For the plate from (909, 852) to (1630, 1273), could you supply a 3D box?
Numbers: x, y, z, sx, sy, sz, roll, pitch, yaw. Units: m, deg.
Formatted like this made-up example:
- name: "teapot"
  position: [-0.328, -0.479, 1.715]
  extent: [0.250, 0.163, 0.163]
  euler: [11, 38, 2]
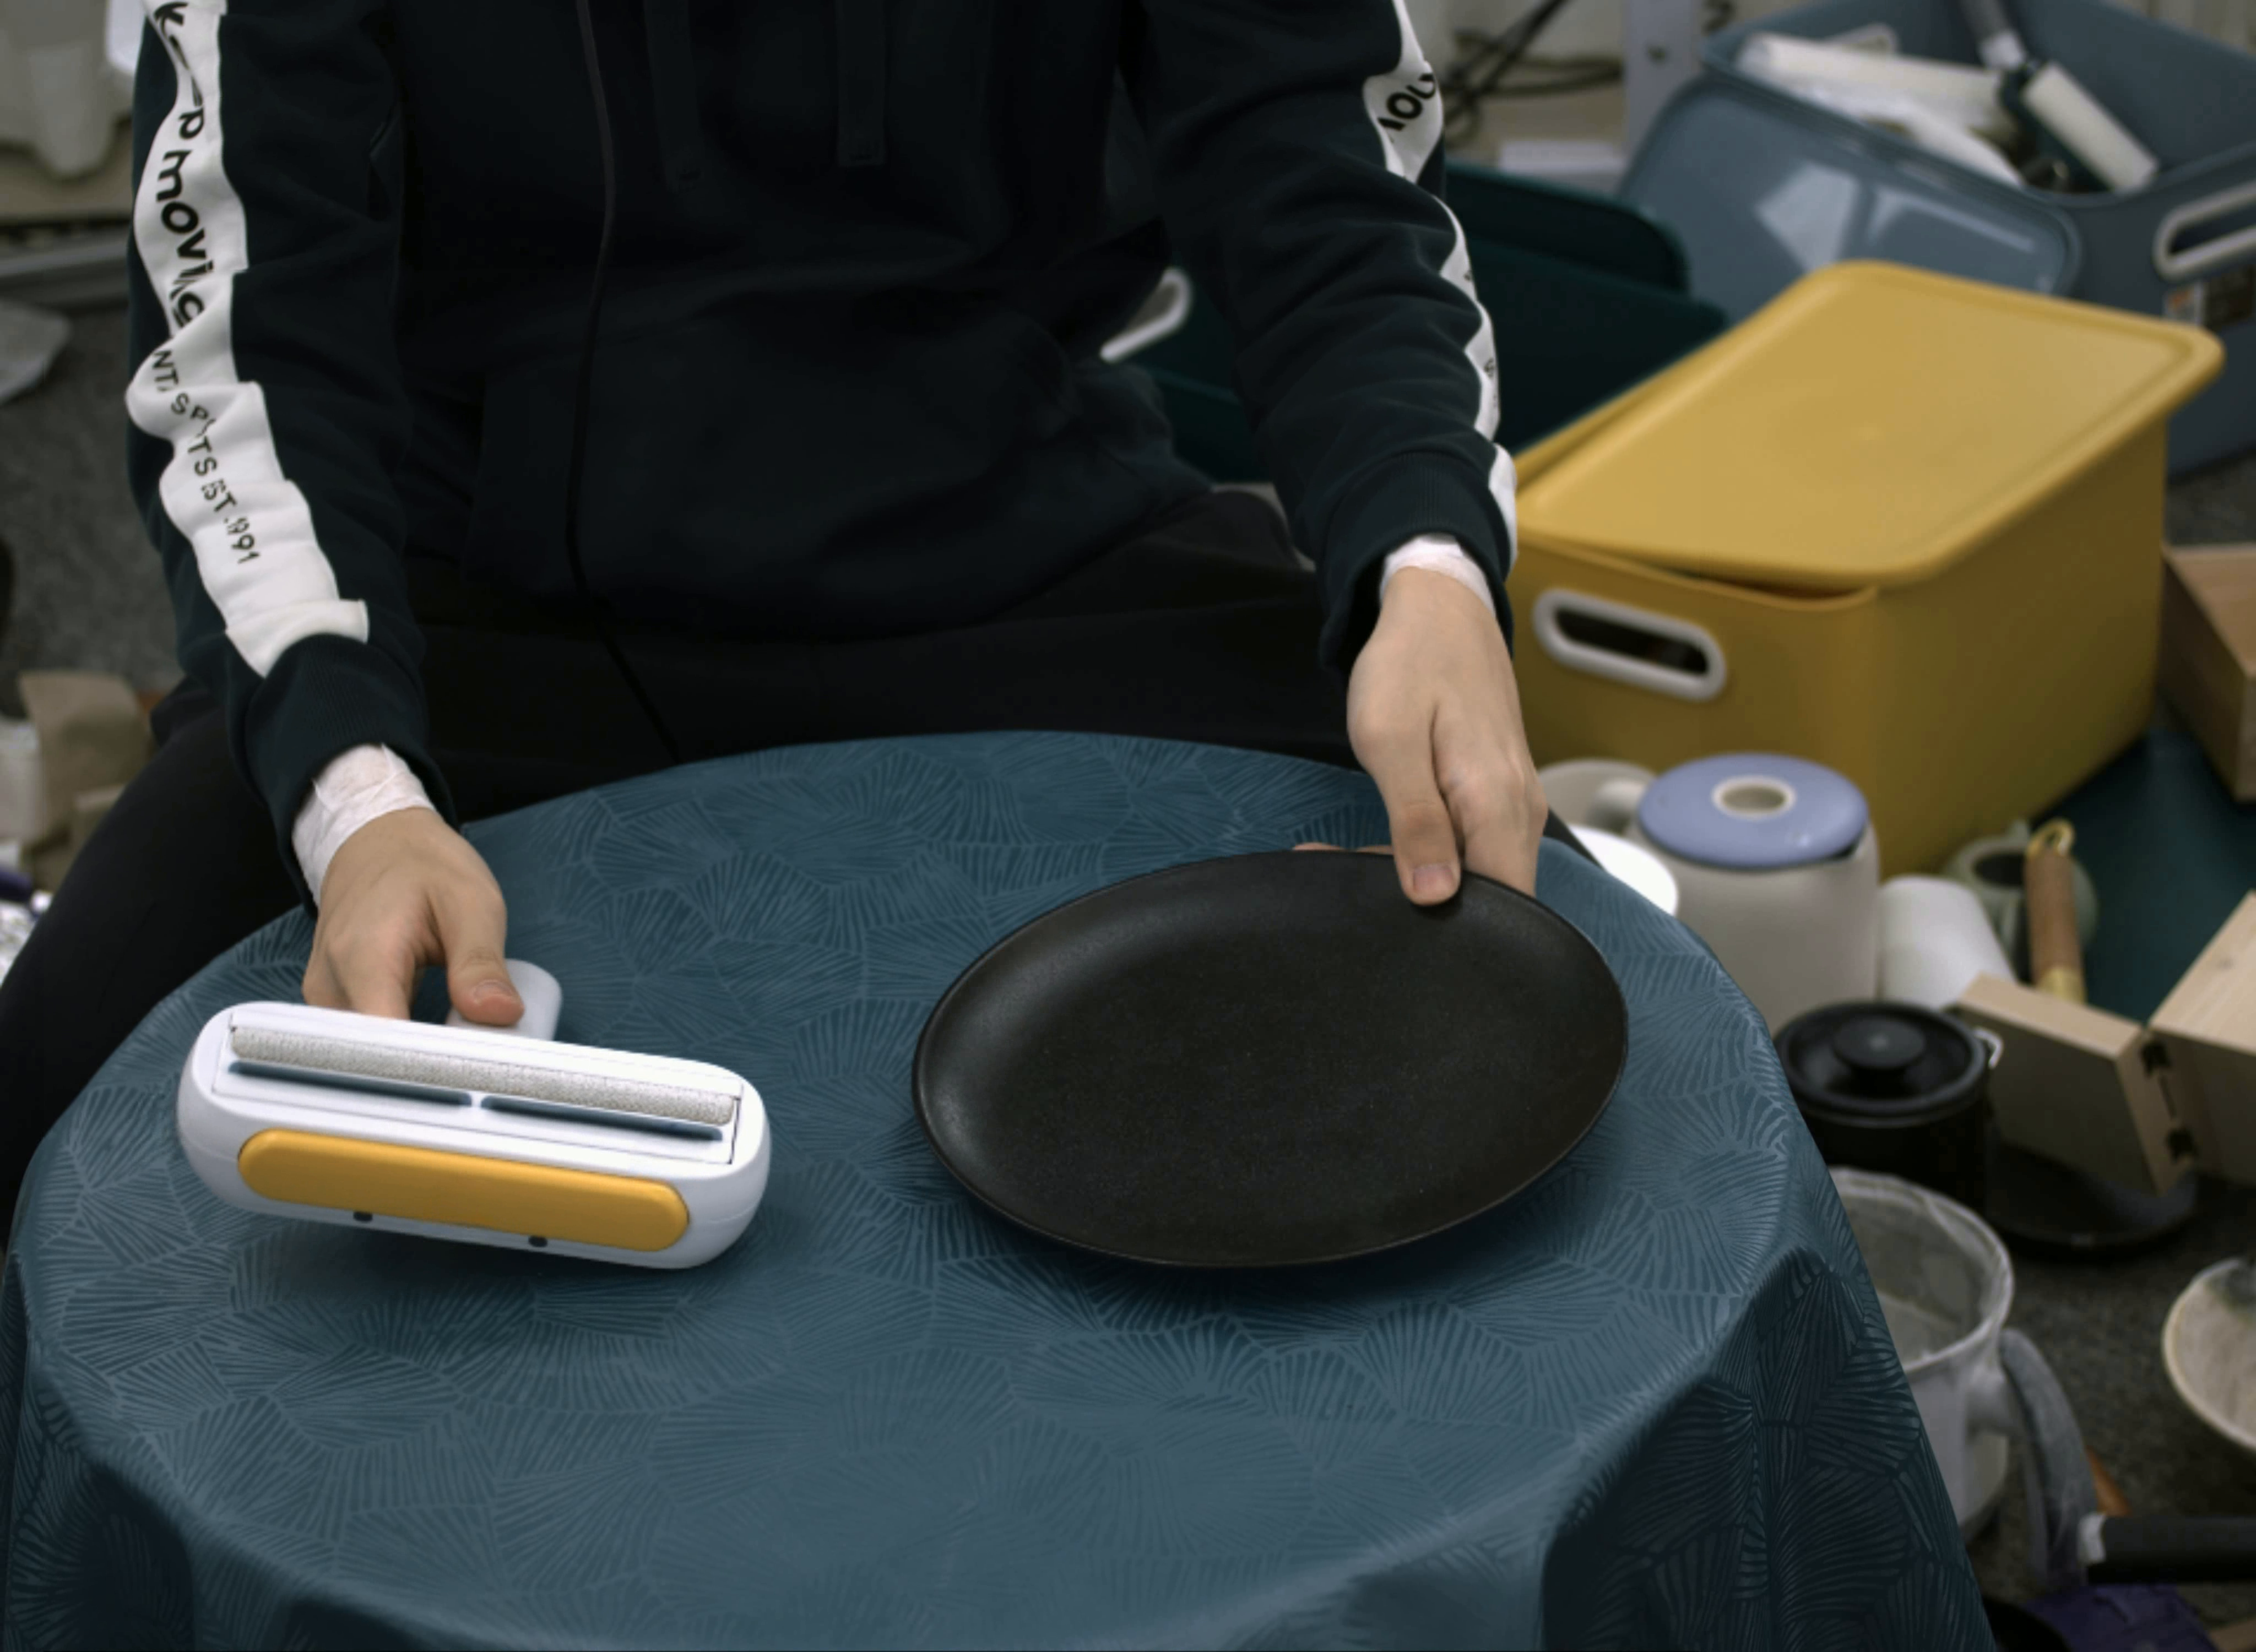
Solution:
- name: "plate"
  position: [0.048, 0.083, 1.888]
  extent: [0.243, 0.023, 0.248]
  euler: [-5, 31, 3]

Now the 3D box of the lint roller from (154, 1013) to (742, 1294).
- name: "lint roller"
  position: [-0.218, 0.099, 1.890]
  extent: [0.192, 0.074, 0.194]
  euler: [8, 15, 2]
